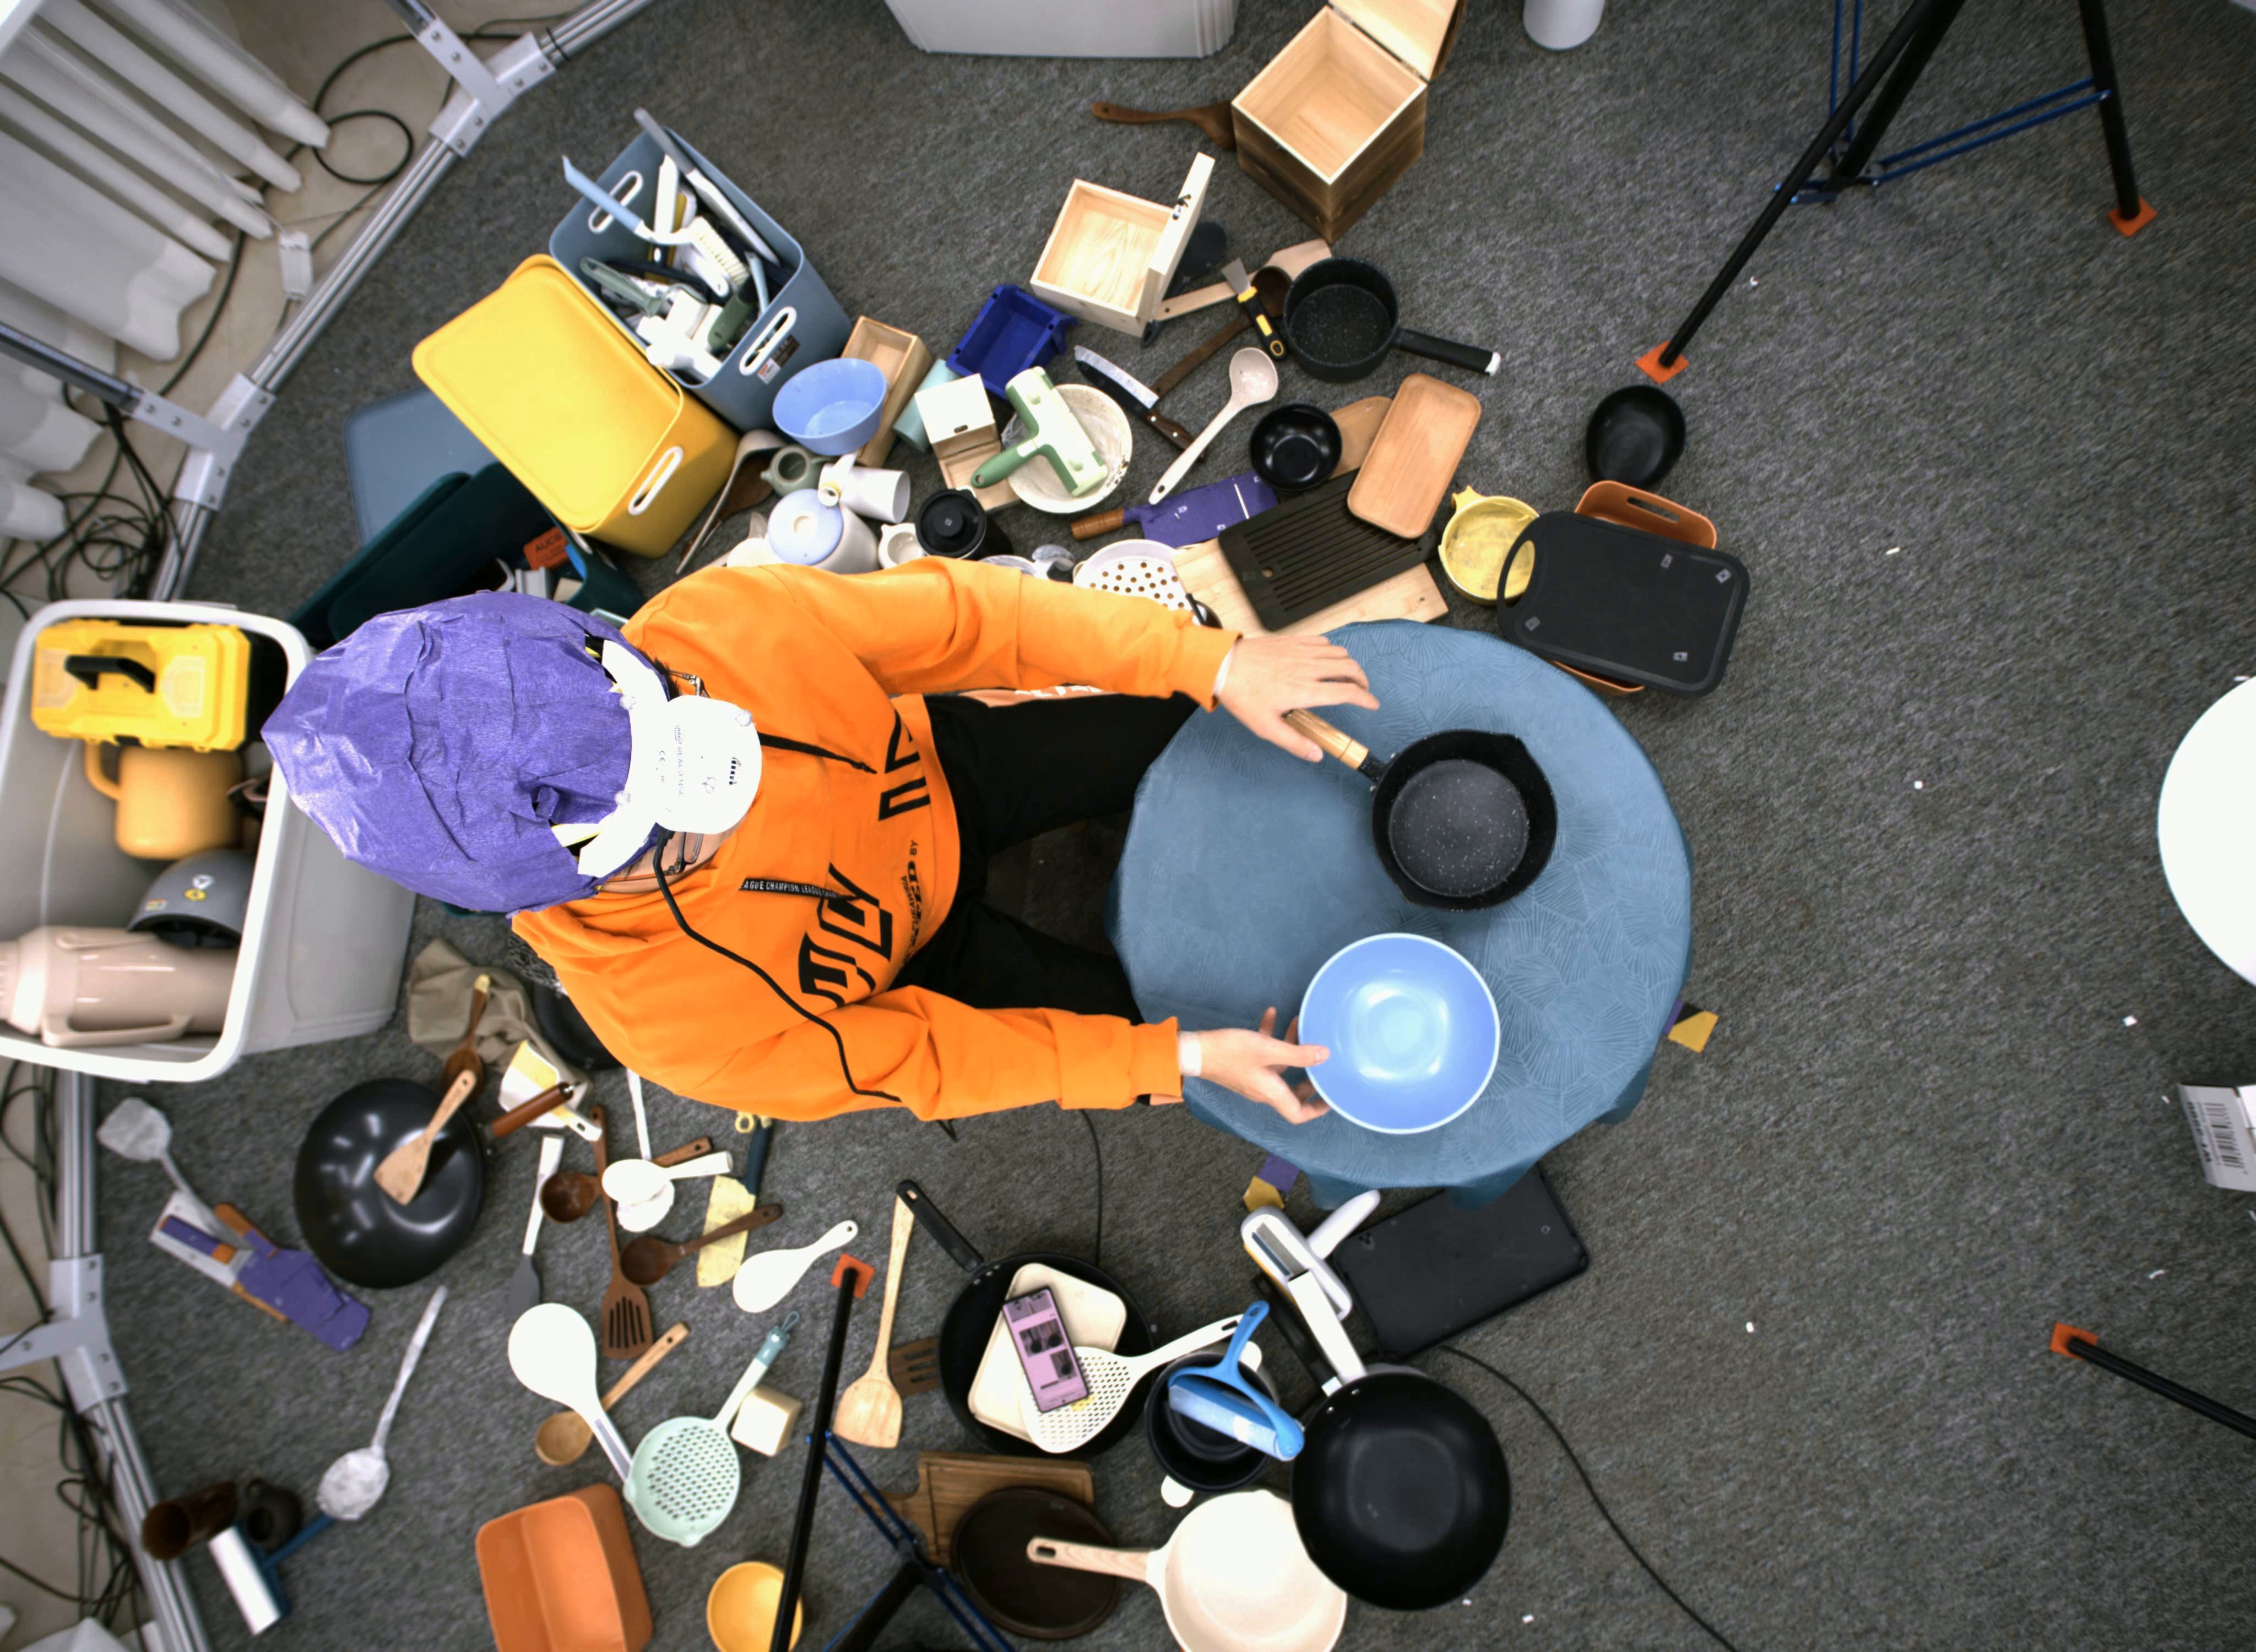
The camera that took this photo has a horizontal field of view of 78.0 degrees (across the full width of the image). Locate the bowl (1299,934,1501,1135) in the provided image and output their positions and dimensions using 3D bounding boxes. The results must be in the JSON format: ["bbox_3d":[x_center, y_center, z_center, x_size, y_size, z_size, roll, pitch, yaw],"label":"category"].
[{"bbox_3d":[0.273,0.207,1.403,0.197,0.095,0.196,-1,87,10],"label":"bowl"}]

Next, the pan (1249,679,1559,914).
[{"bbox_3d":[0.272,-0.045,1.411,0.342,0.108,0.208,32,93,9],"label":"pan"}]
